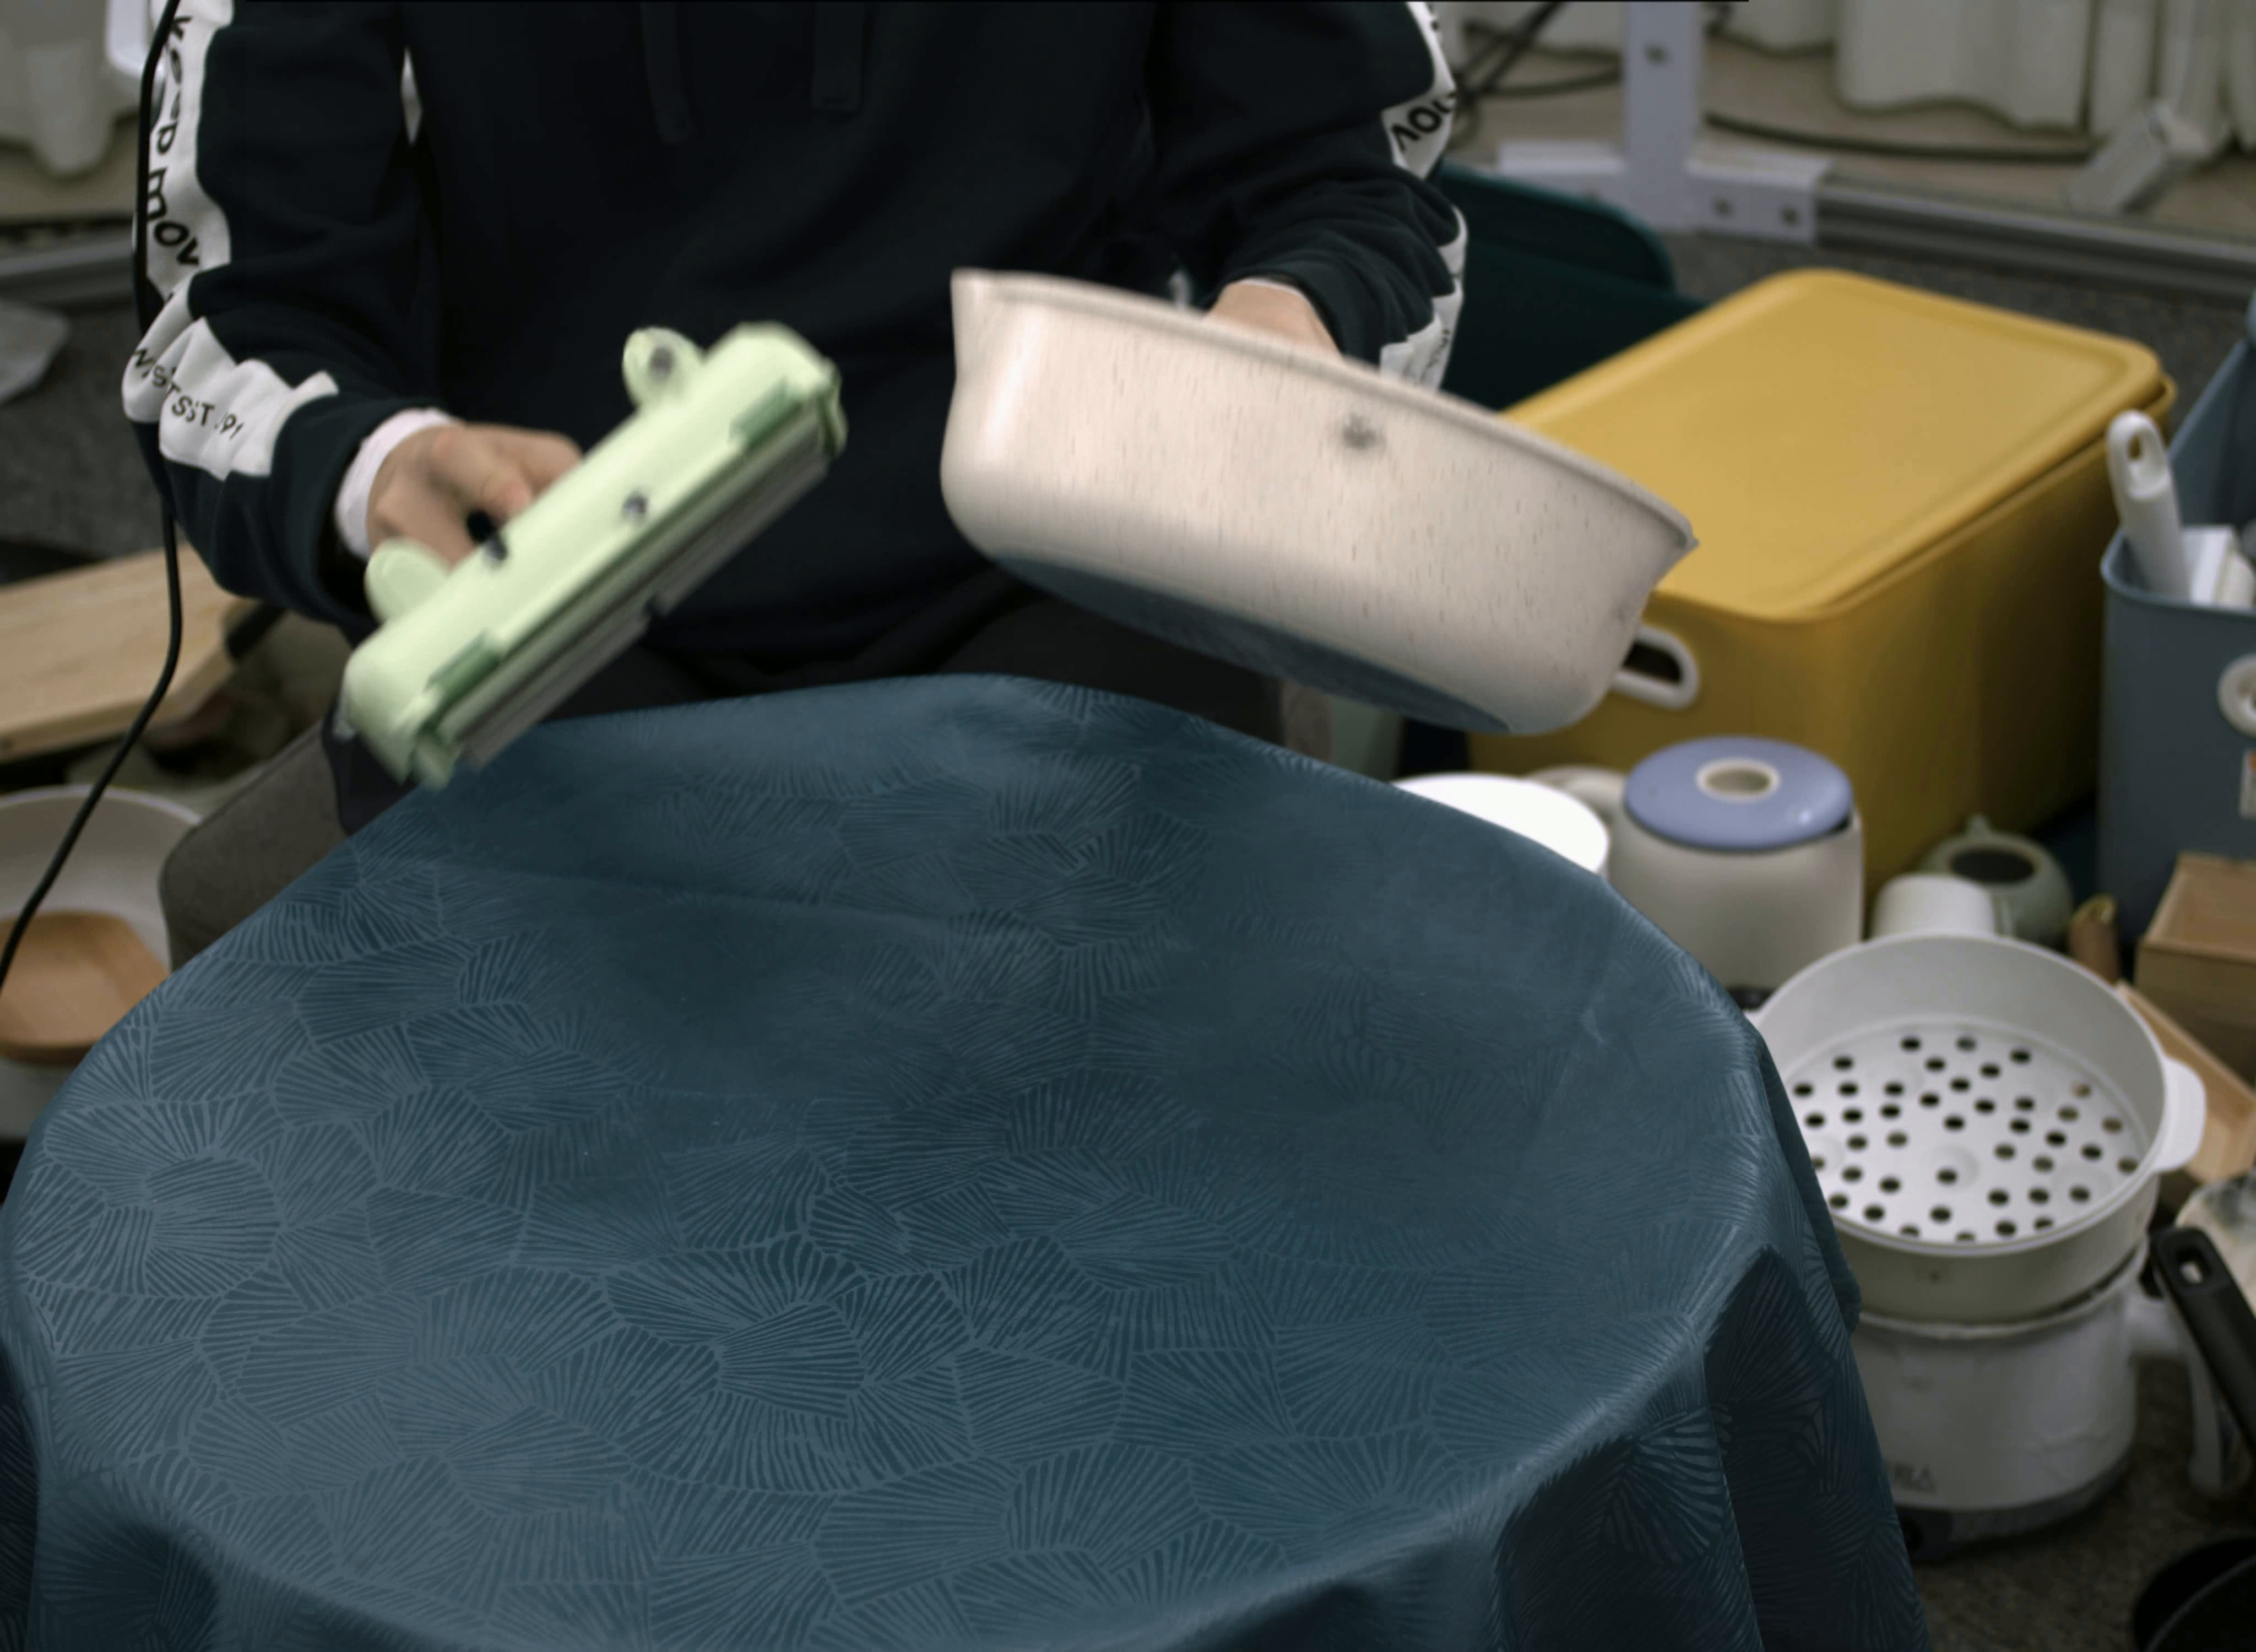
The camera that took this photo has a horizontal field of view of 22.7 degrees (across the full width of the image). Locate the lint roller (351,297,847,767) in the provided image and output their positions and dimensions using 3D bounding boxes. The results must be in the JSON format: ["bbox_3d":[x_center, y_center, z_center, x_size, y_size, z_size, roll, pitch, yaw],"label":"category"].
[{"bbox_3d":[-0.208,-0.114,1.949,0.200,0.081,0.183,-43,27,-18],"label":"lint roller"}]

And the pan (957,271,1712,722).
[{"bbox_3d":[0.049,-0.107,1.944,0.262,0.102,0.433,18,-4,-7],"label":"pan"}]
